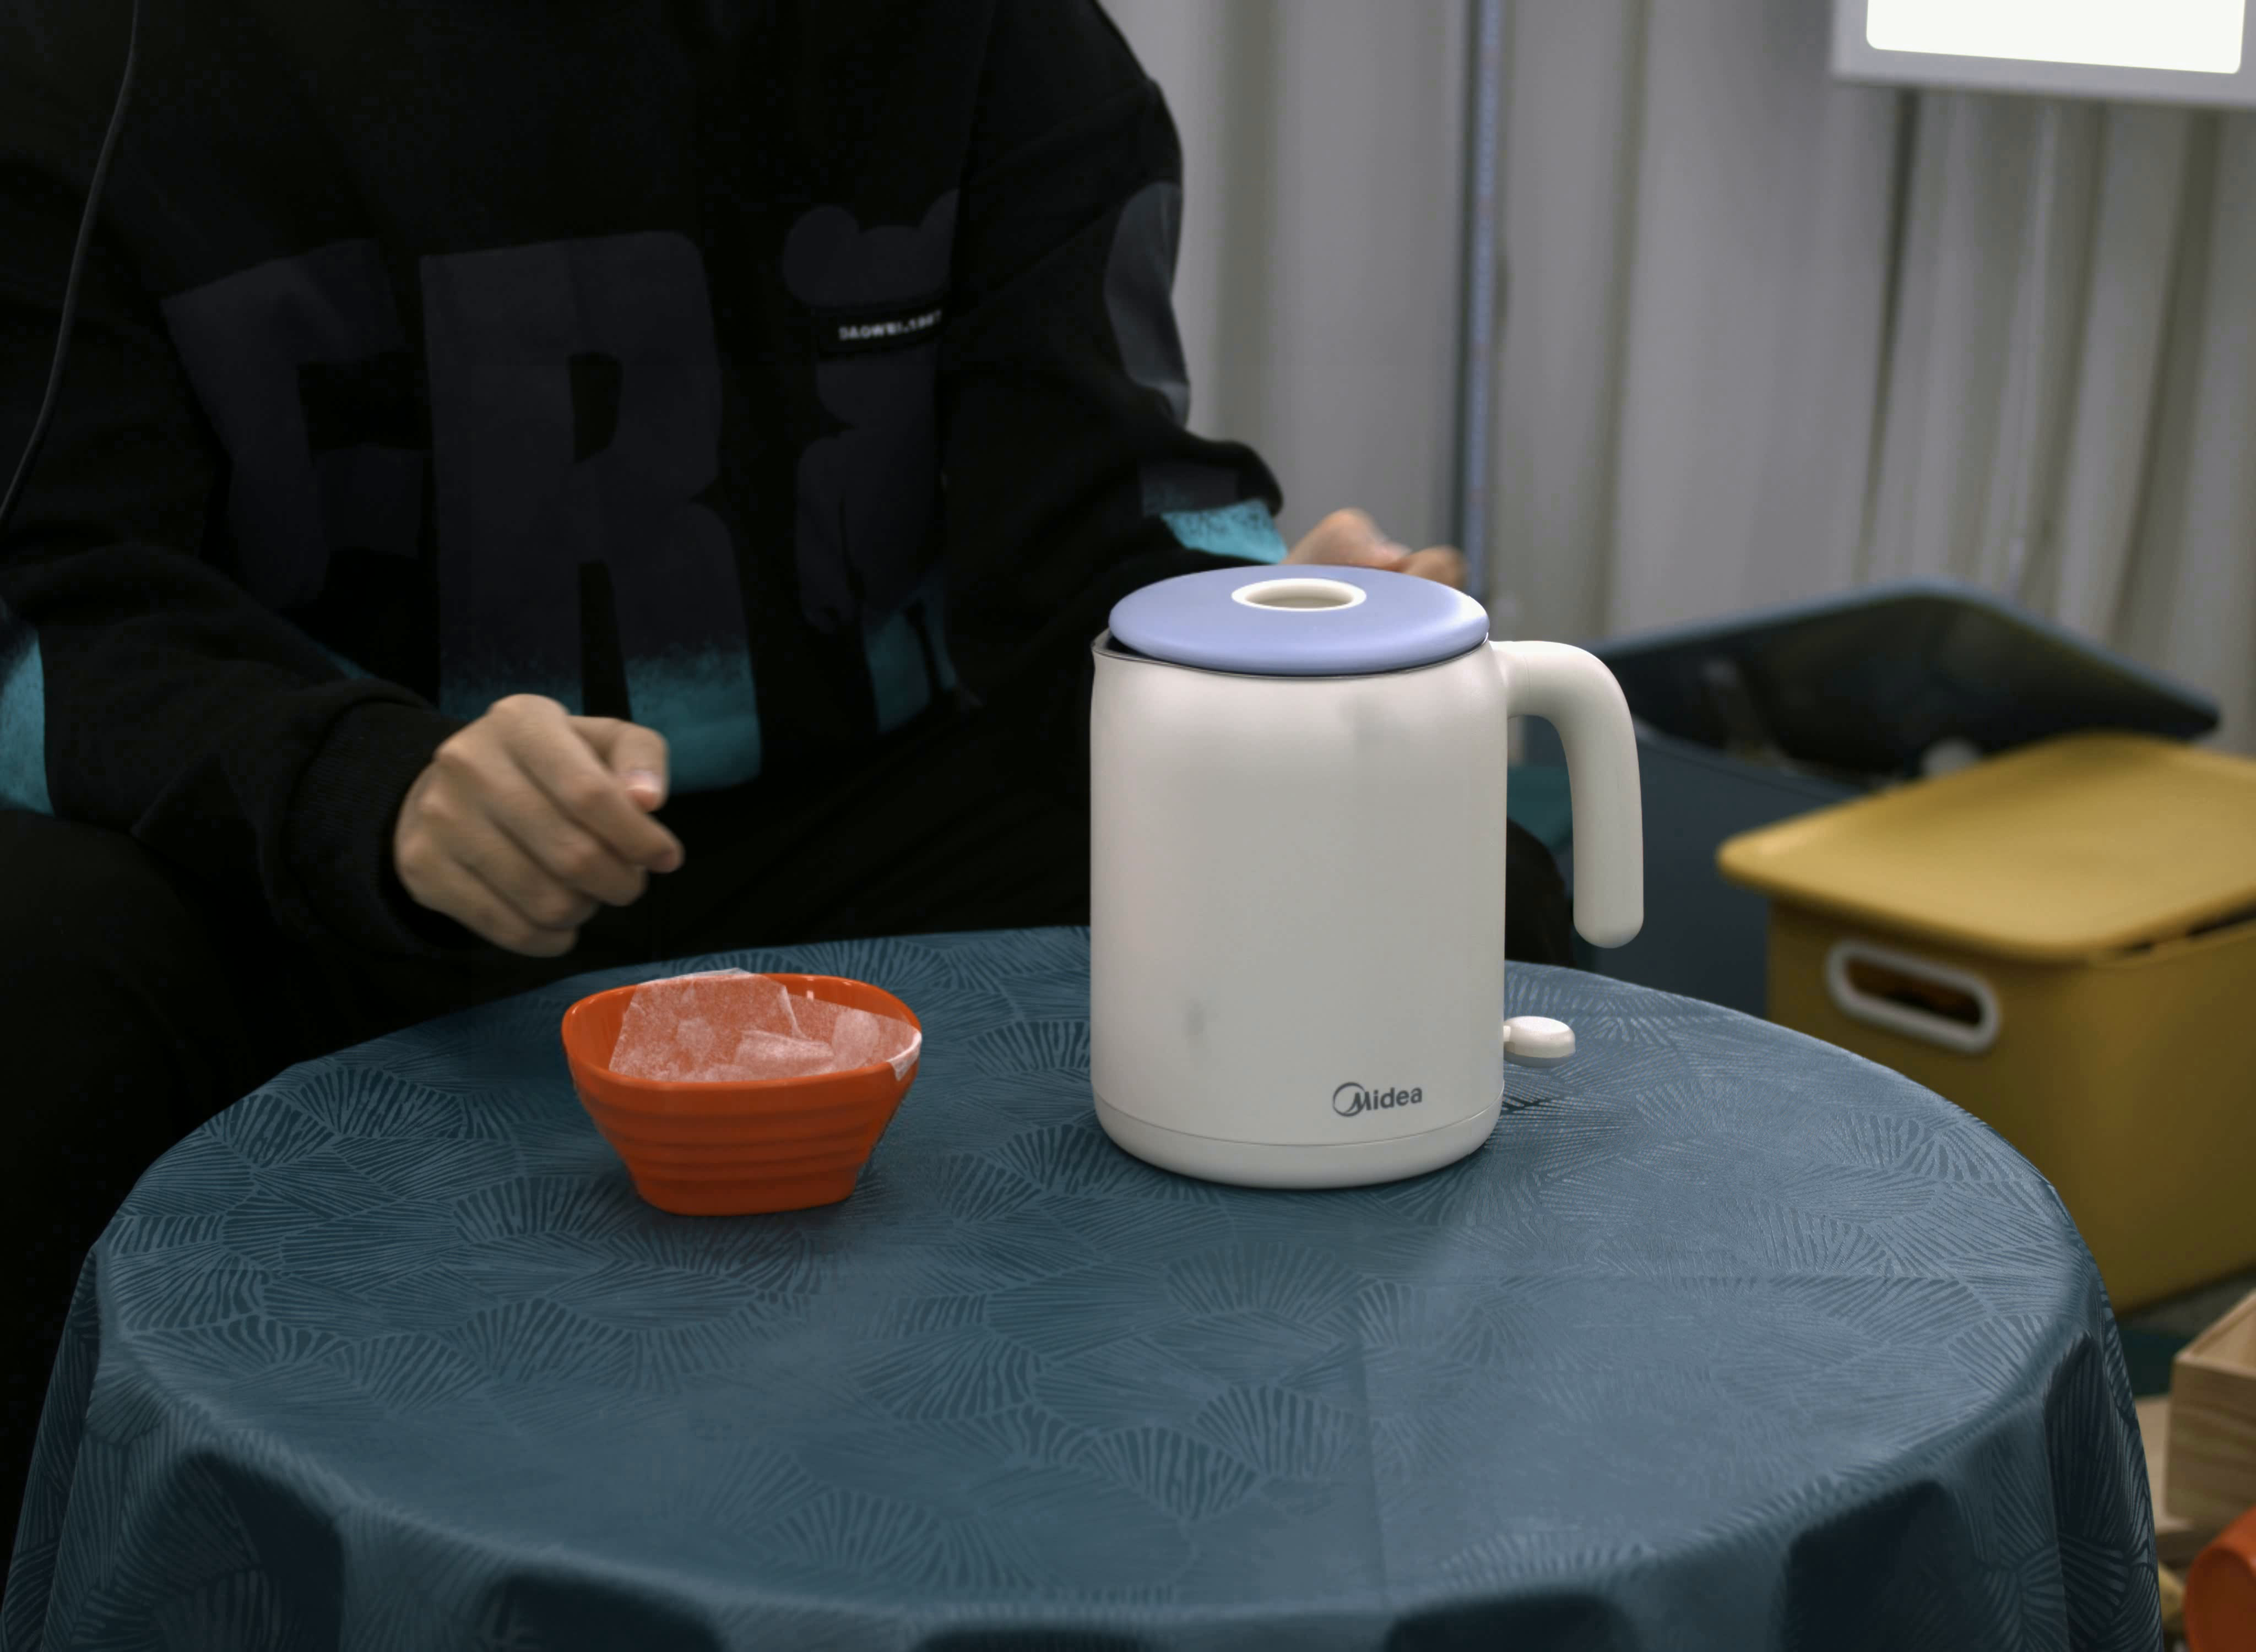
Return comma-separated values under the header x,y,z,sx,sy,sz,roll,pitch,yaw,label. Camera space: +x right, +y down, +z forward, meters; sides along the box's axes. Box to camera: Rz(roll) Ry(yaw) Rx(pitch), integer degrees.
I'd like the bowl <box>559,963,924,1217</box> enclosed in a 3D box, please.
x,y,z,sx,sy,sz,roll,pitch,yaw,label
-0.118,0.083,1.620,0.118,0.052,0.118,-1,18,1,bowl

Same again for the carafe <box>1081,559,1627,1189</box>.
x,y,z,sx,sy,sz,roll,pitch,yaw,label
0.074,0.012,1.663,0.192,0.184,0.130,-4,18,-23,carafe
